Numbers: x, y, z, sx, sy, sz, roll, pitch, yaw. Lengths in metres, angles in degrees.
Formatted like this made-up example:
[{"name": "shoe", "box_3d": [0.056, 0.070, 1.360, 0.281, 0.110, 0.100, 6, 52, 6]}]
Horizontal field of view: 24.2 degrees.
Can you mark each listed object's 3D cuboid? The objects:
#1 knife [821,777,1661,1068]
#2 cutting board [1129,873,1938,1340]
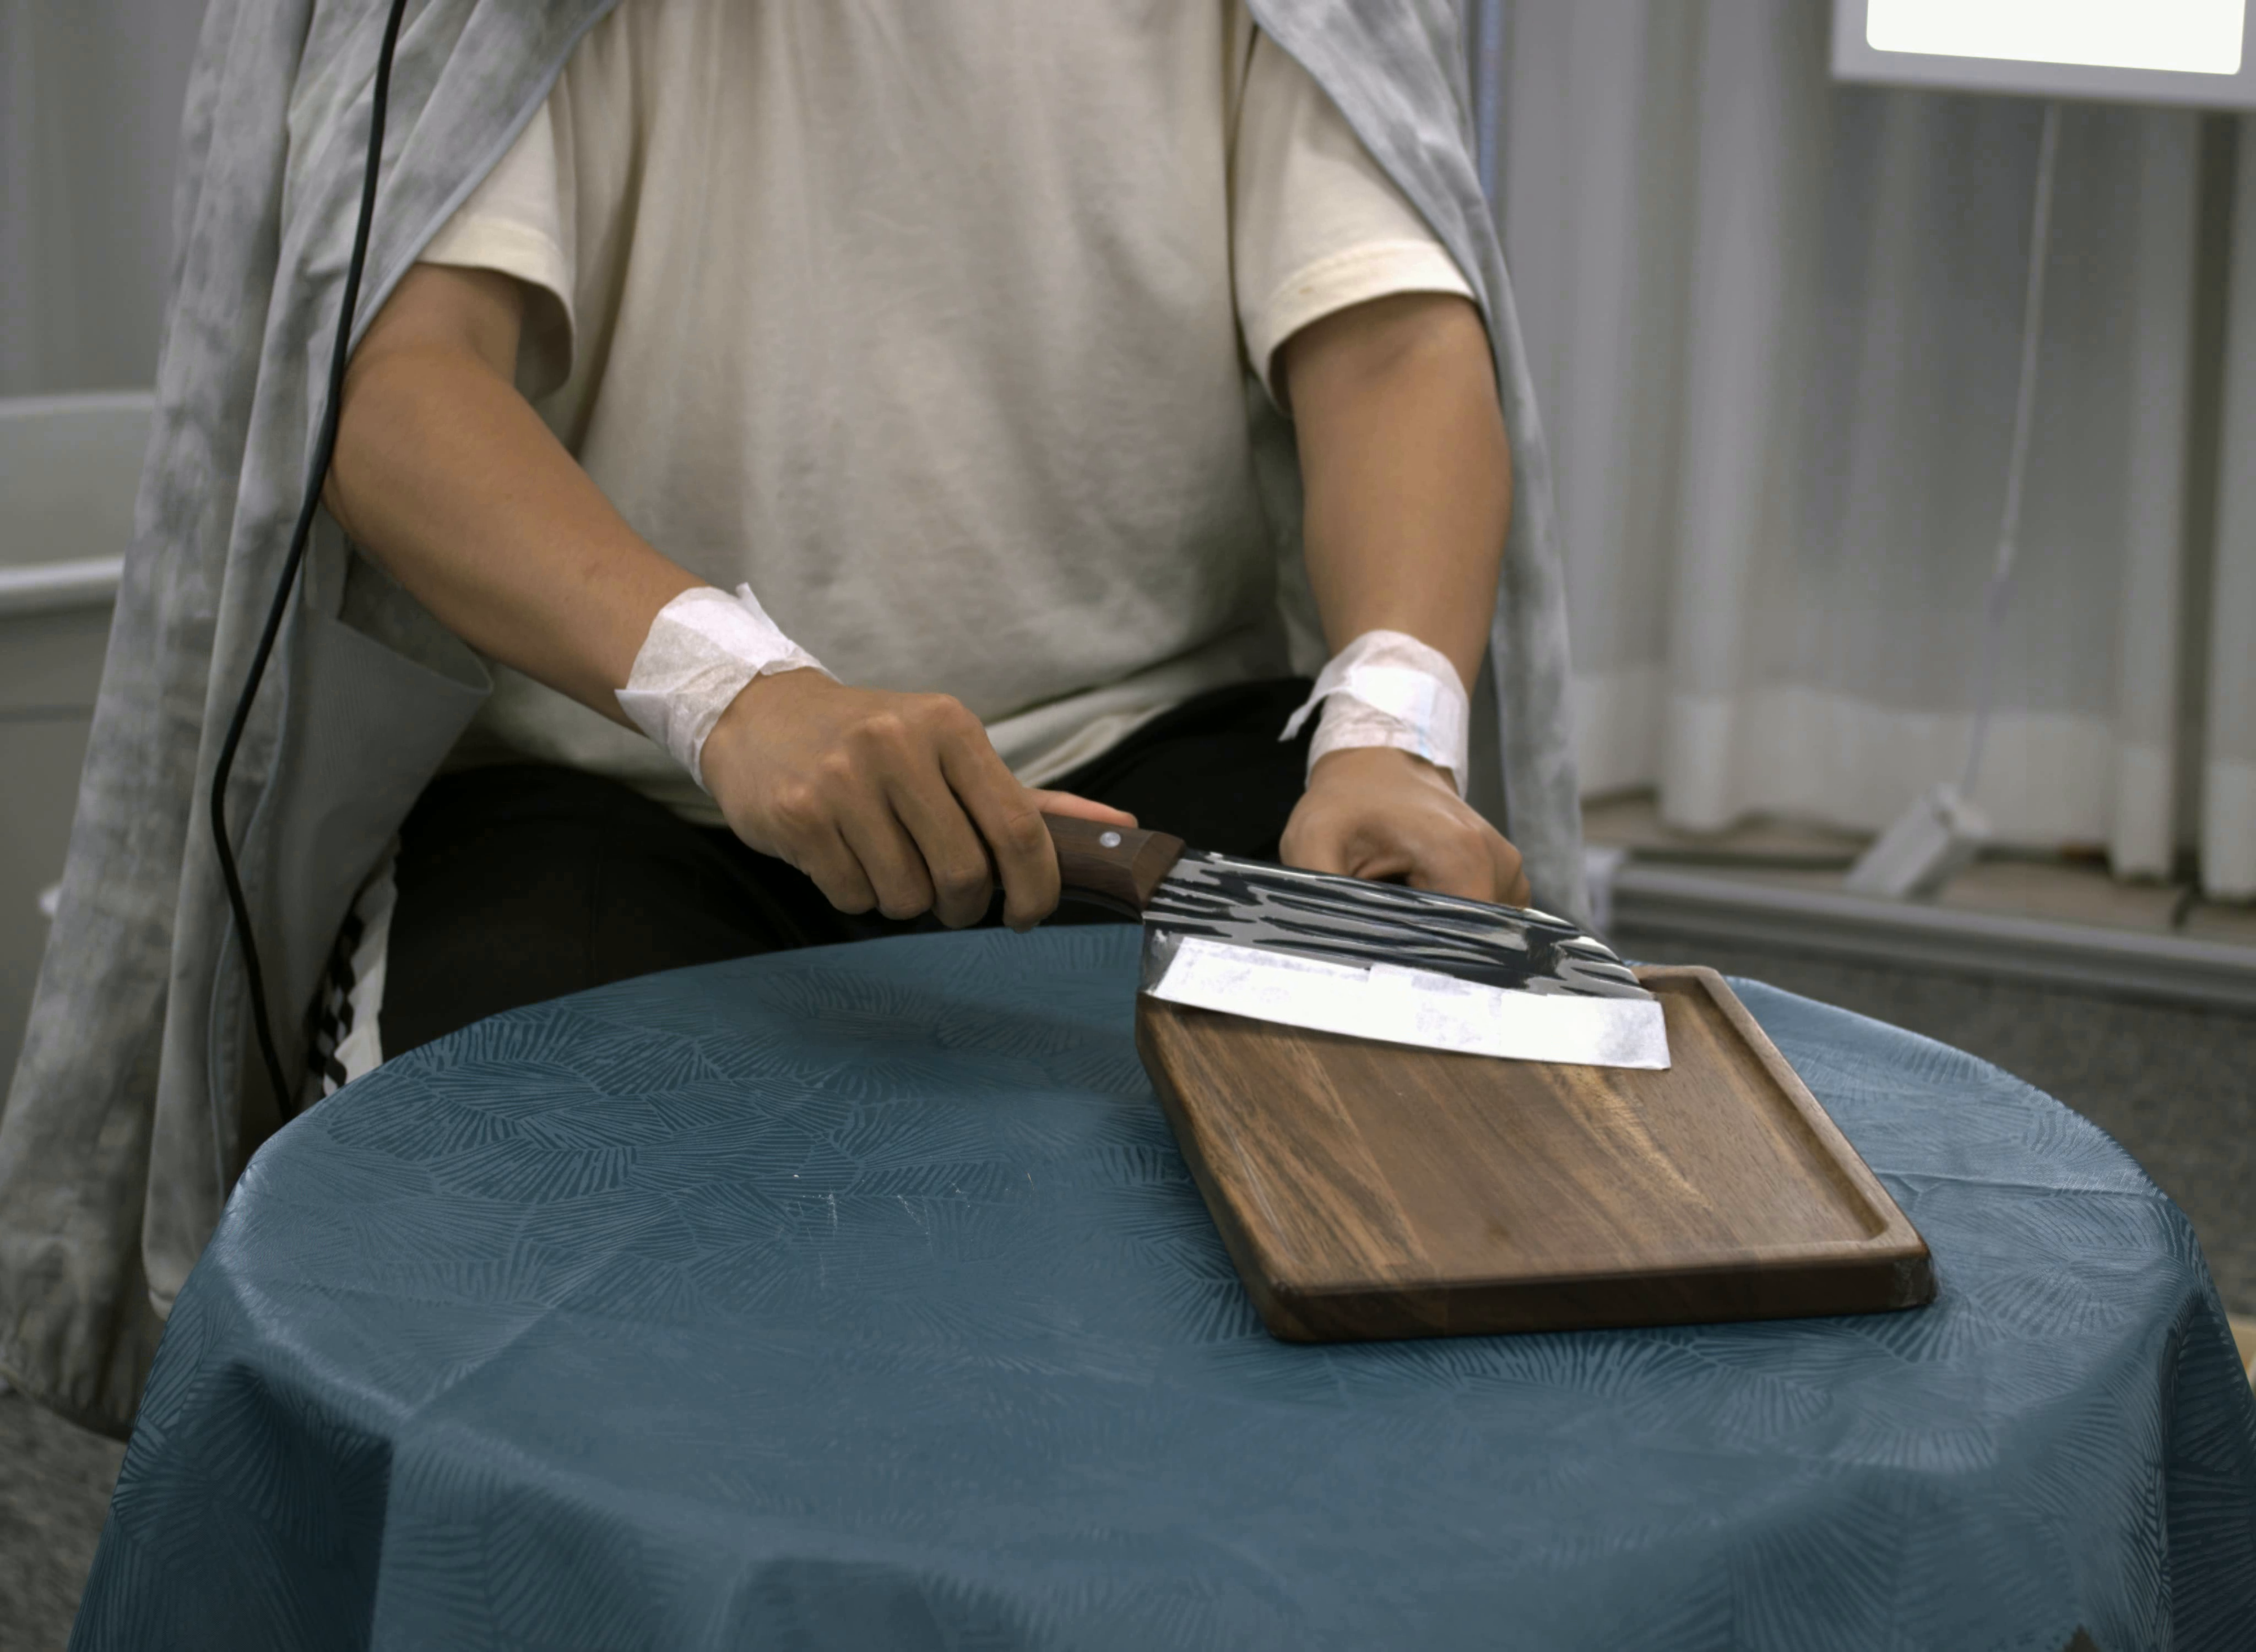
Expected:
[{"name": "knife", "box_3d": [0.033, 0.033, 1.717, 0.297, 0.024, 0.068, 11, 47, 13]}, {"name": "cutting board", "box_3d": [0.110, 0.080, 1.671, 0.201, 0.023, 0.349, -2, 18, -10]}]
